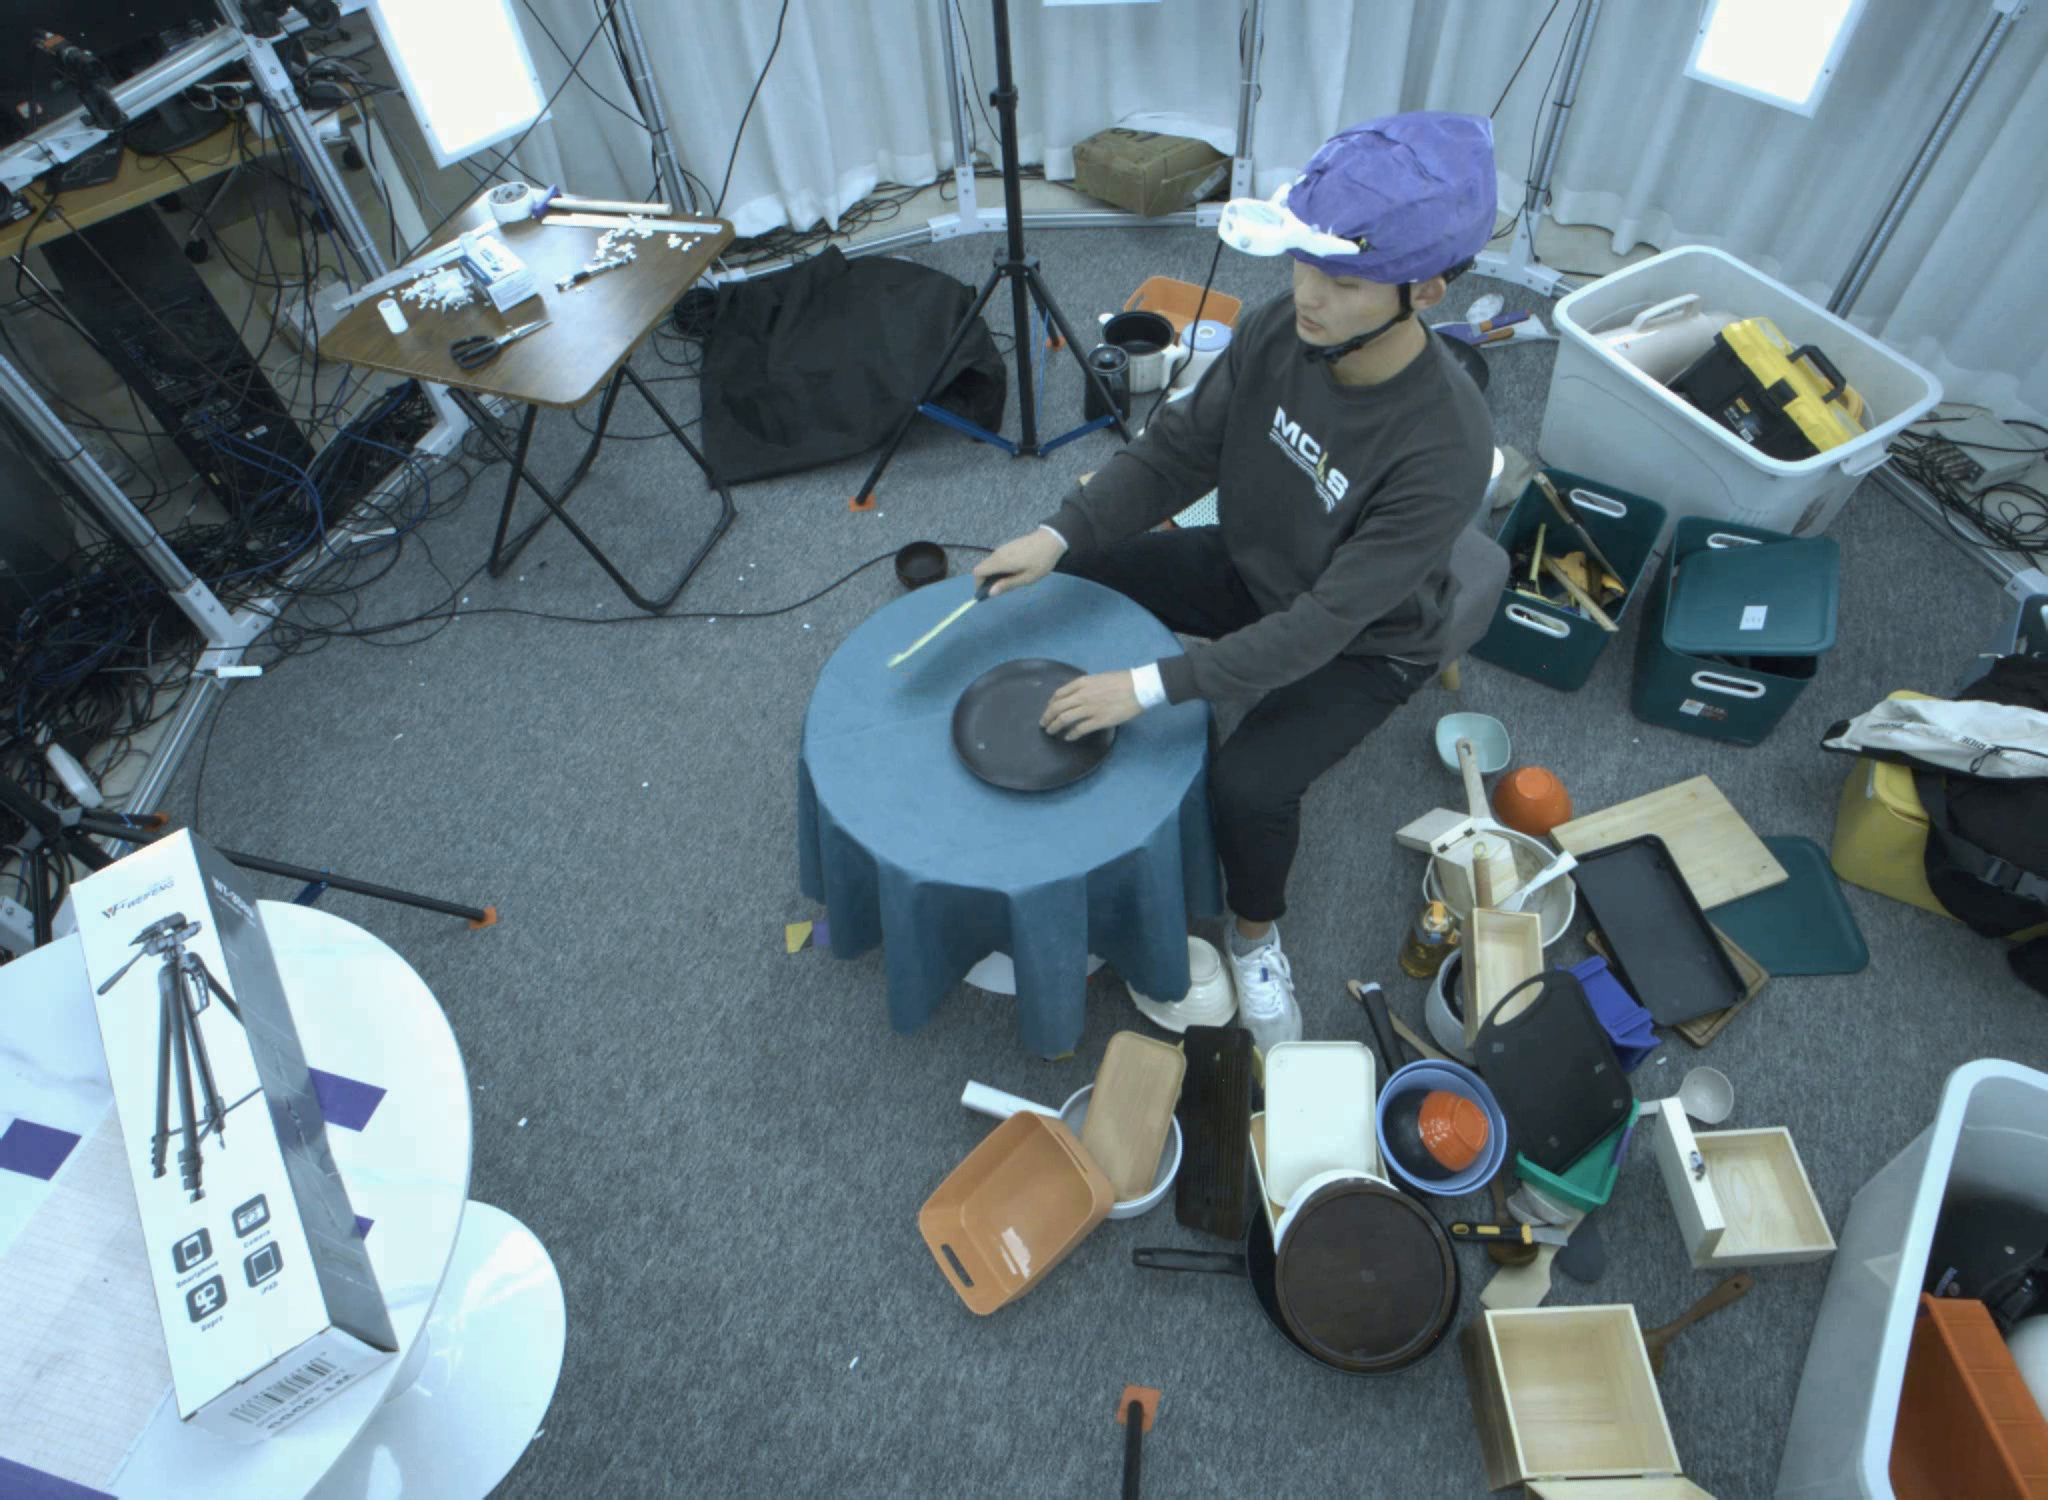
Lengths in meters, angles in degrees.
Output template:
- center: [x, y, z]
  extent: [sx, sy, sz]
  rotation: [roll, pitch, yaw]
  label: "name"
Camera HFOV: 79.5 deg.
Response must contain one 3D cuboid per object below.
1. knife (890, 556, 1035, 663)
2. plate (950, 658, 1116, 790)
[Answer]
- center: [-0.095, -0.215, 1.878]
  extent: [0.291, 0.079, 0.027]
  rotation: [-39, 107, -23]
  label: "knife"
- center: [0.014, -0.036, 1.806]
  extent: [0.244, 0.023, 0.242]
  rotation: [0, 55, 1]
  label: "plate"
